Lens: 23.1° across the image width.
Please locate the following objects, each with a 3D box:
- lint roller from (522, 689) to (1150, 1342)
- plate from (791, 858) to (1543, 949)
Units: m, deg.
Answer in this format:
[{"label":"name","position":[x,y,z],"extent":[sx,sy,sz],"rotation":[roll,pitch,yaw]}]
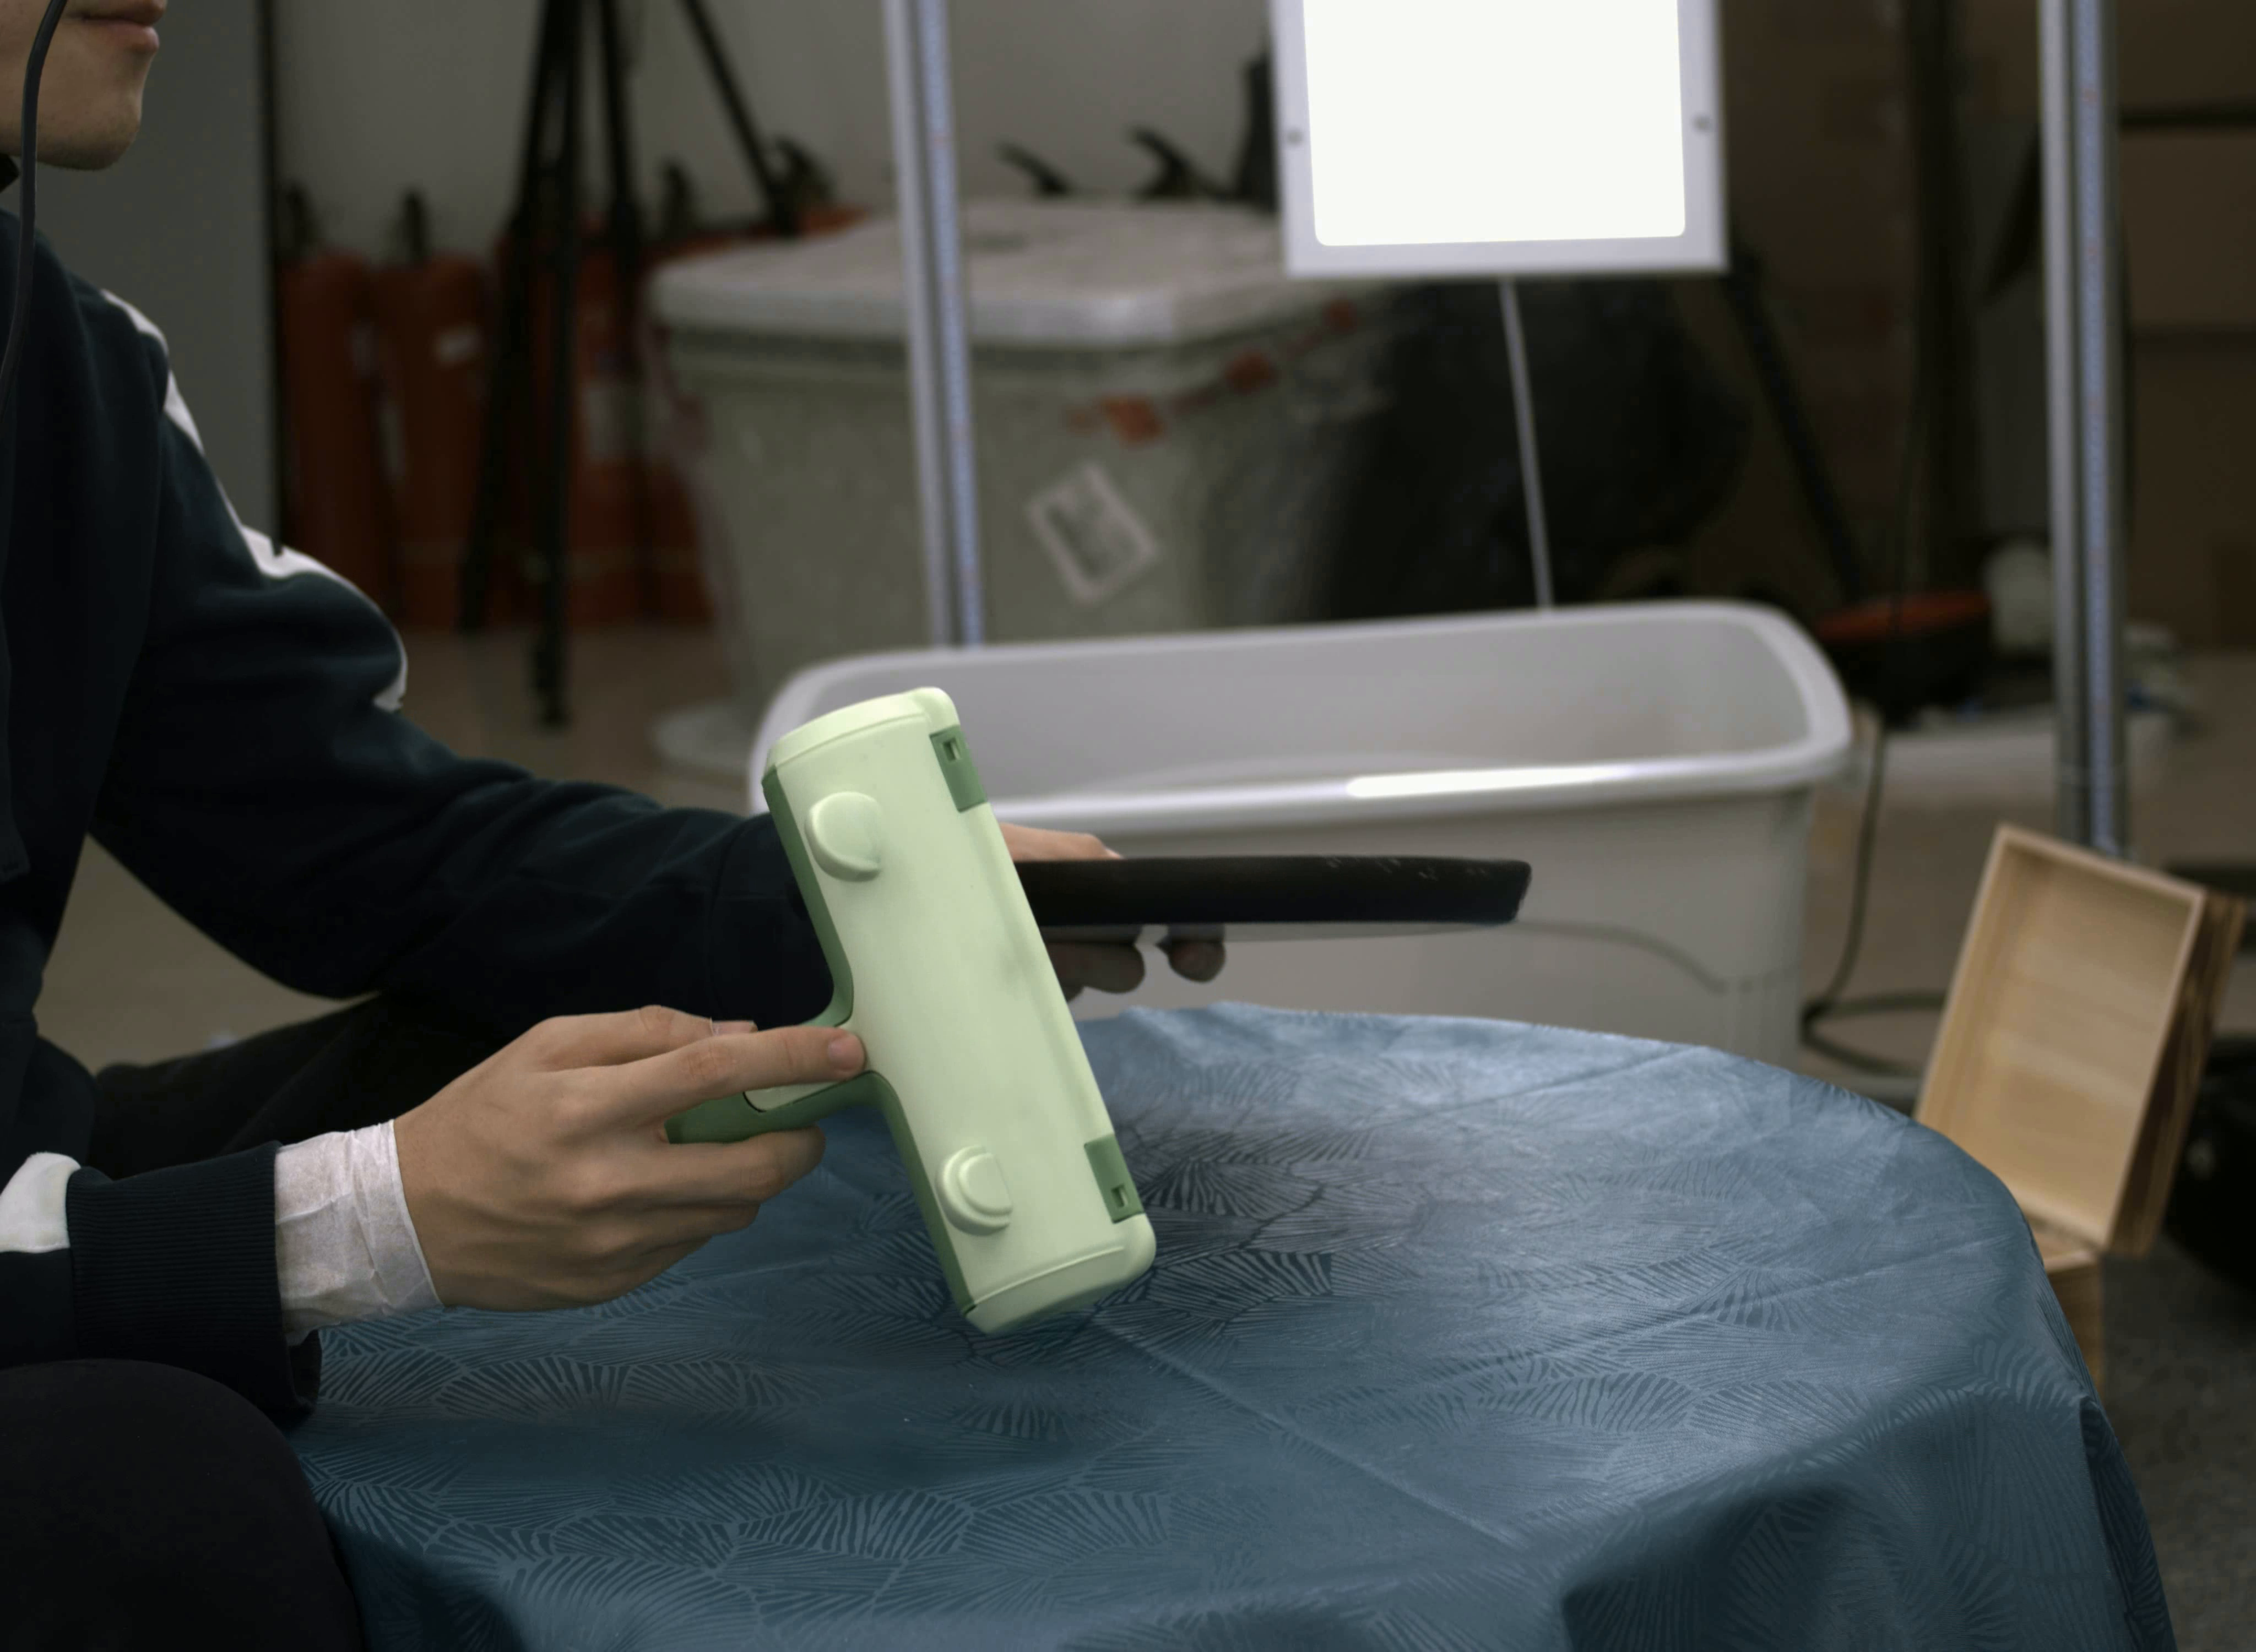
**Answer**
[{"label":"lint roller","position":[-0.108,0.077,1.684],"extent":[0.184,0.199,0.081],"rotation":[-22,-11,7]},{"label":"plate","position":[0.013,0.026,1.847],"extent":[0.254,0.029,0.255],"rotation":[-1,-1,-1]}]
